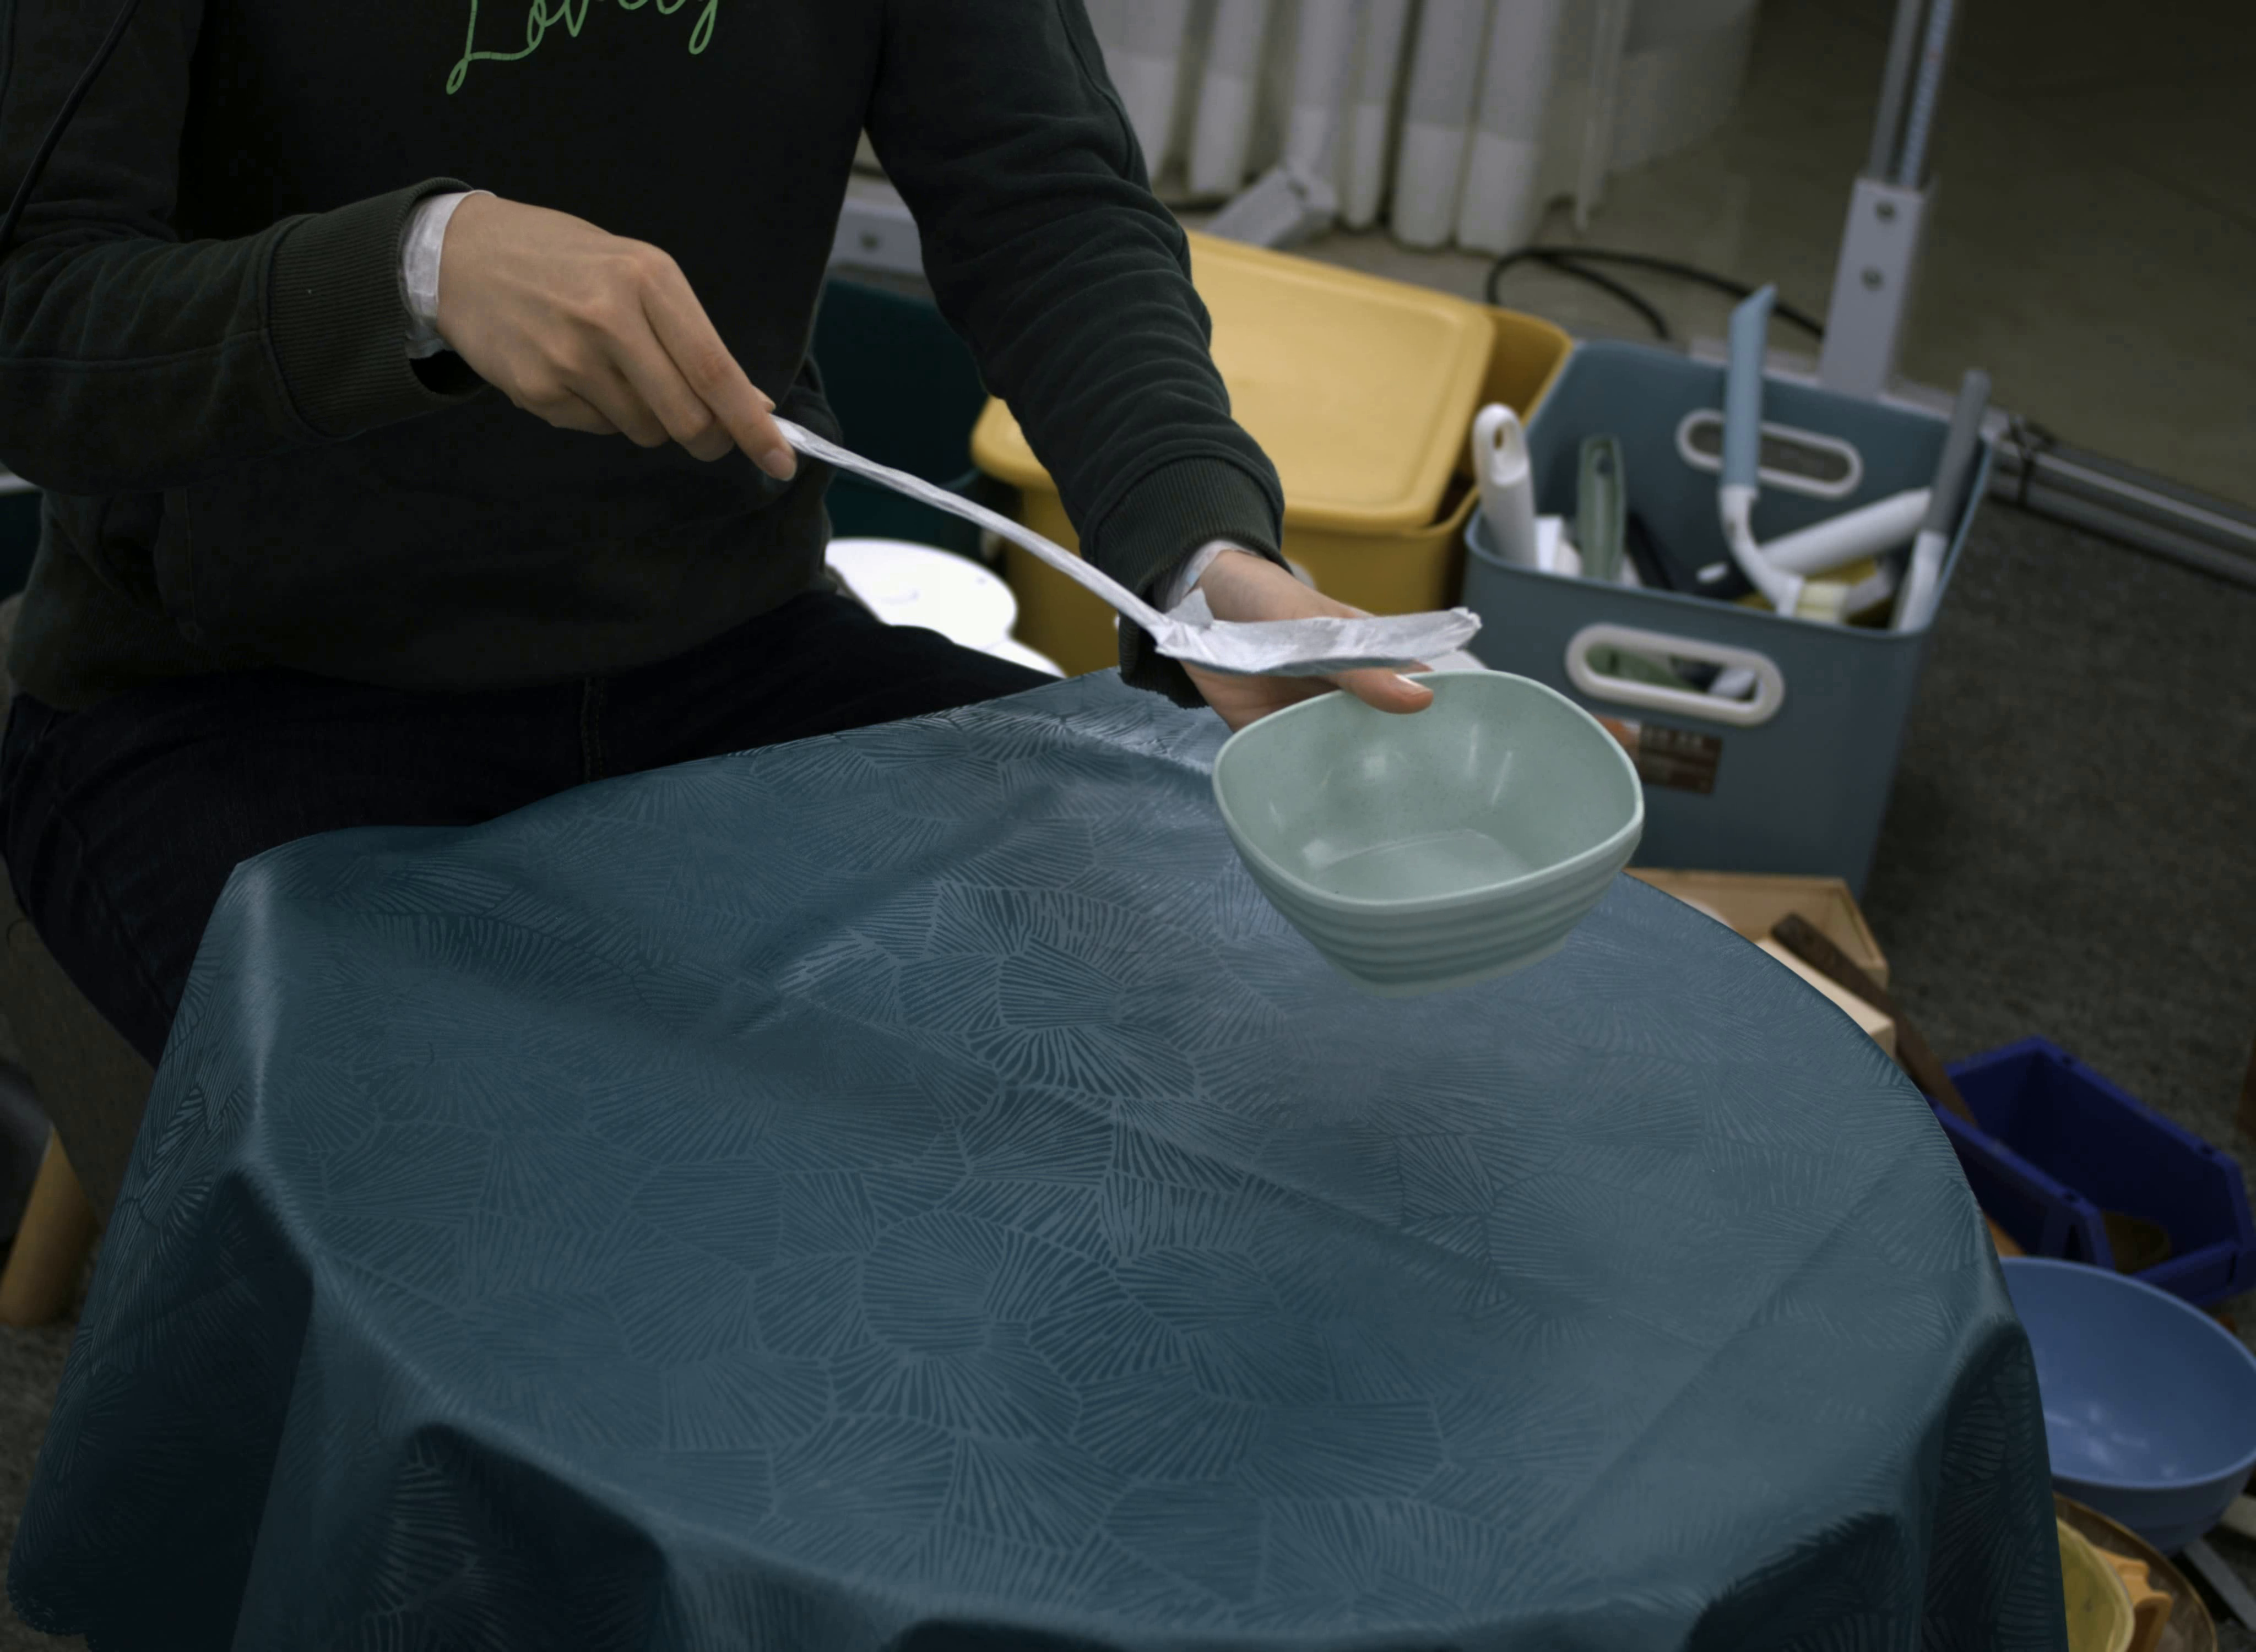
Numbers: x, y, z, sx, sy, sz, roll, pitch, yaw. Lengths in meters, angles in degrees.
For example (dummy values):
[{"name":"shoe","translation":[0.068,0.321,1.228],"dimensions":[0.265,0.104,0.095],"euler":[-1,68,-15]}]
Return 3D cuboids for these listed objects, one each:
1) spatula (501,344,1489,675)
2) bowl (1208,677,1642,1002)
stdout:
[{"name":"spatula","translation":[-0.055,-0.112,1.778],"dimensions":[0.366,0.045,0.098],"euler":[24,19,17]},{"name":"bowl","translation":[0.101,0.011,1.809],"dimensions":[0.151,0.058,0.152],"euler":[-3,32,1]}]
